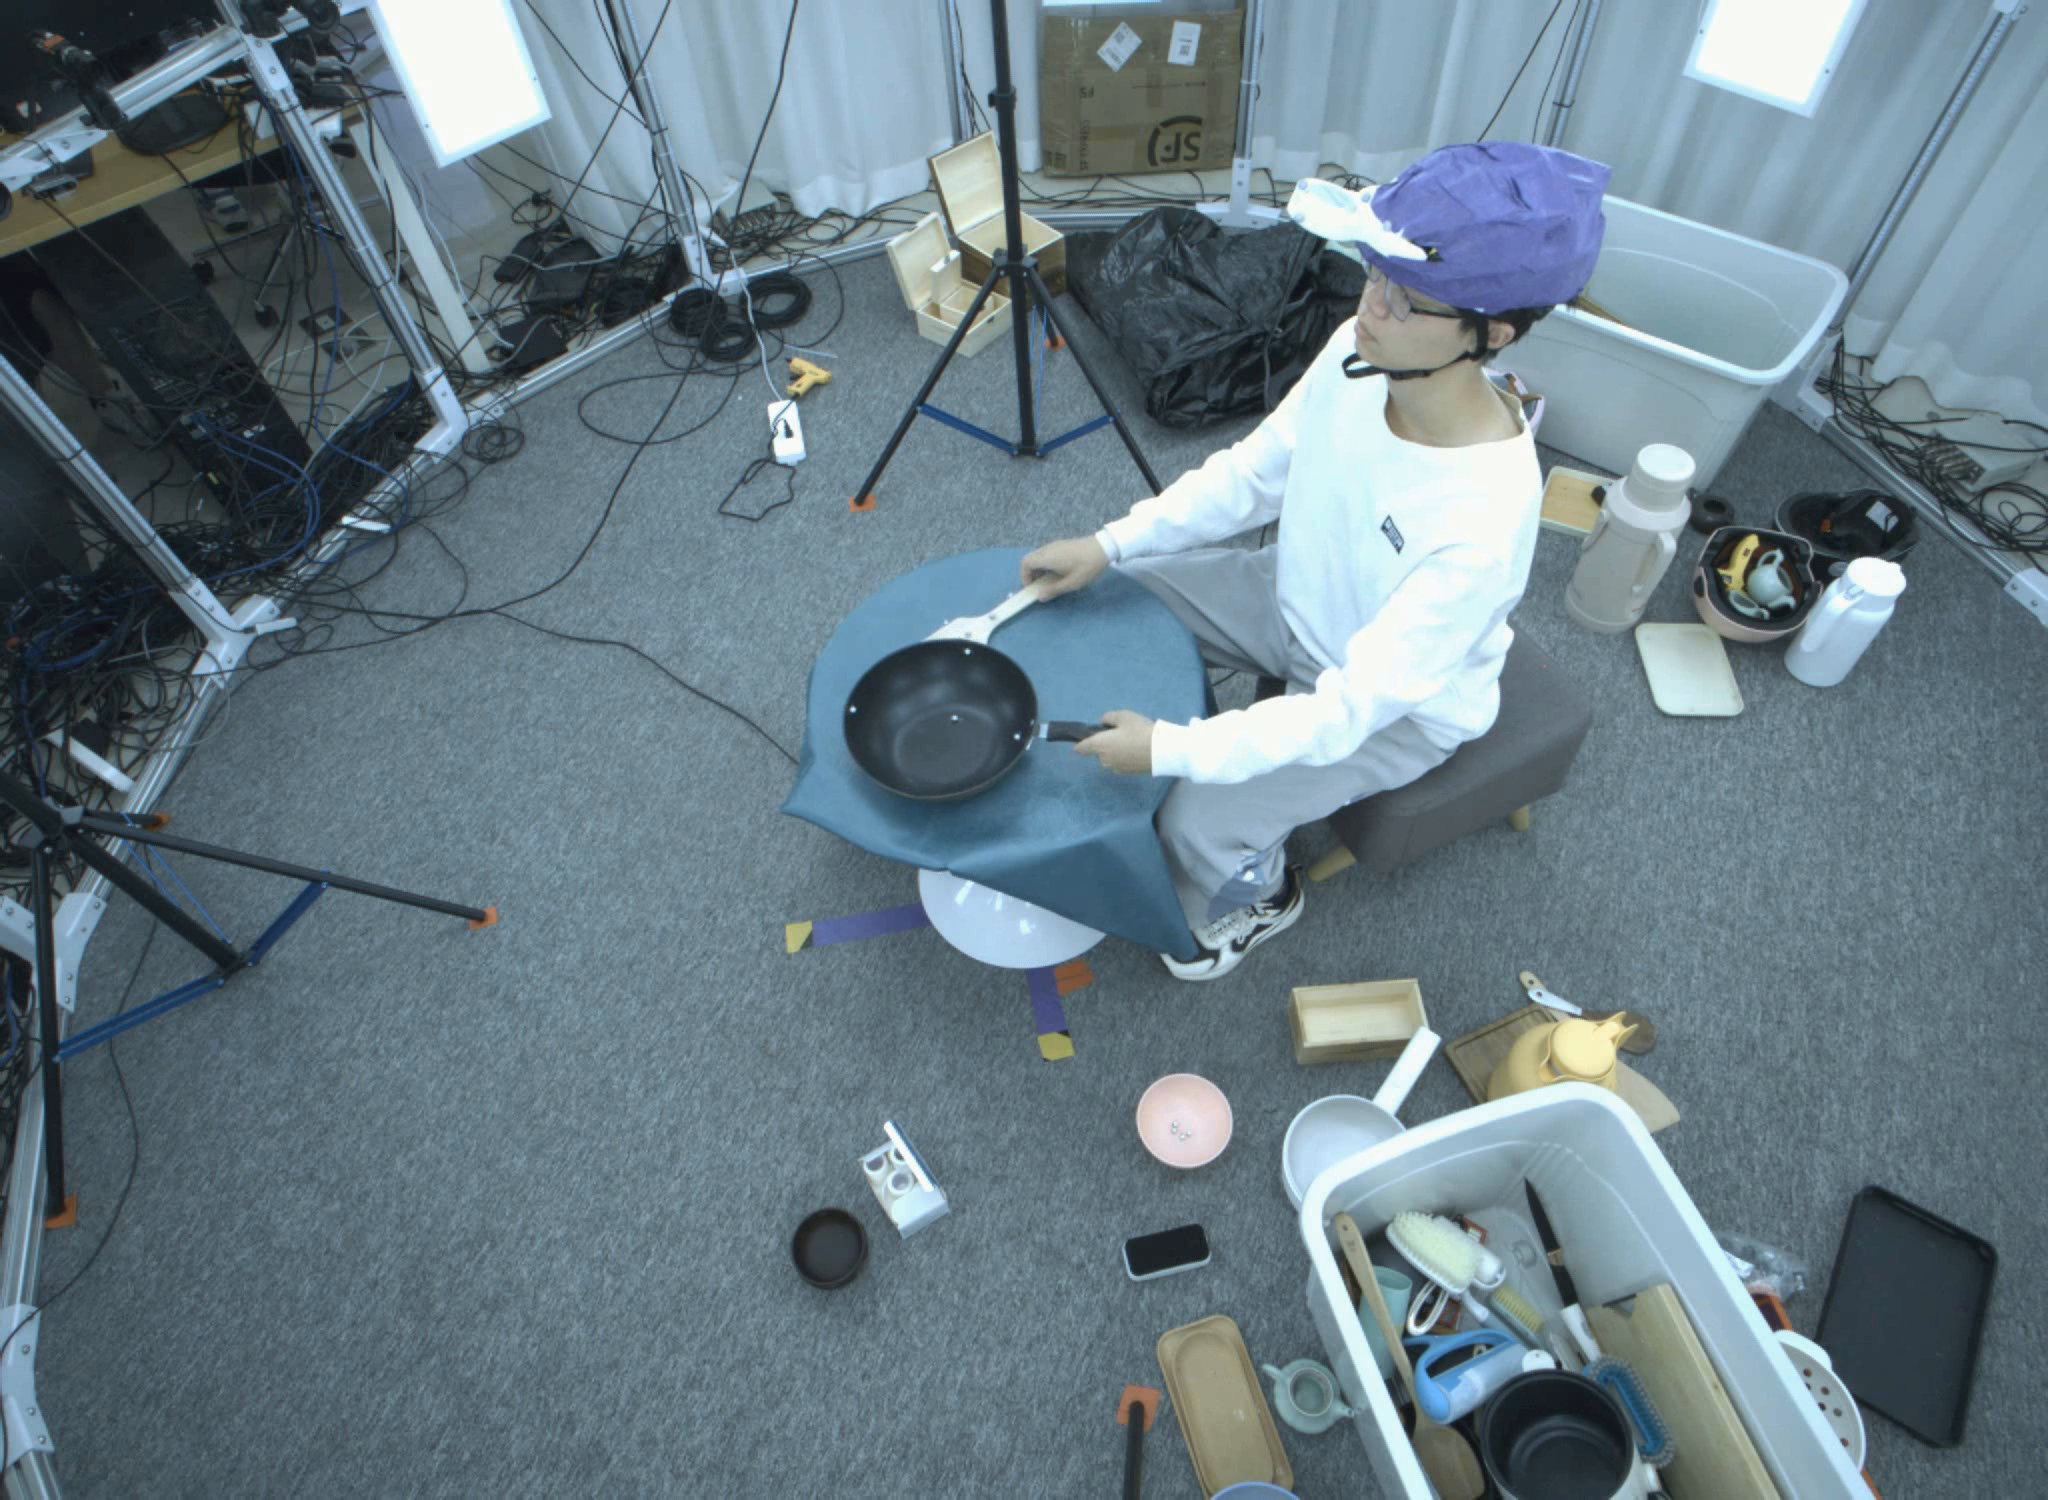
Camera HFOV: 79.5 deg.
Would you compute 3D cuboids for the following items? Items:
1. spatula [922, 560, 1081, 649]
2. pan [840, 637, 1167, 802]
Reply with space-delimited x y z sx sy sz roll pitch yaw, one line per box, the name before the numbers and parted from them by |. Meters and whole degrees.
spatula | -0.028 -0.218 1.924 0.295 0.011 0.071 -36 73 -19
pan | -0.028 -0.019 1.746 0.461 0.088 0.286 8 55 7
